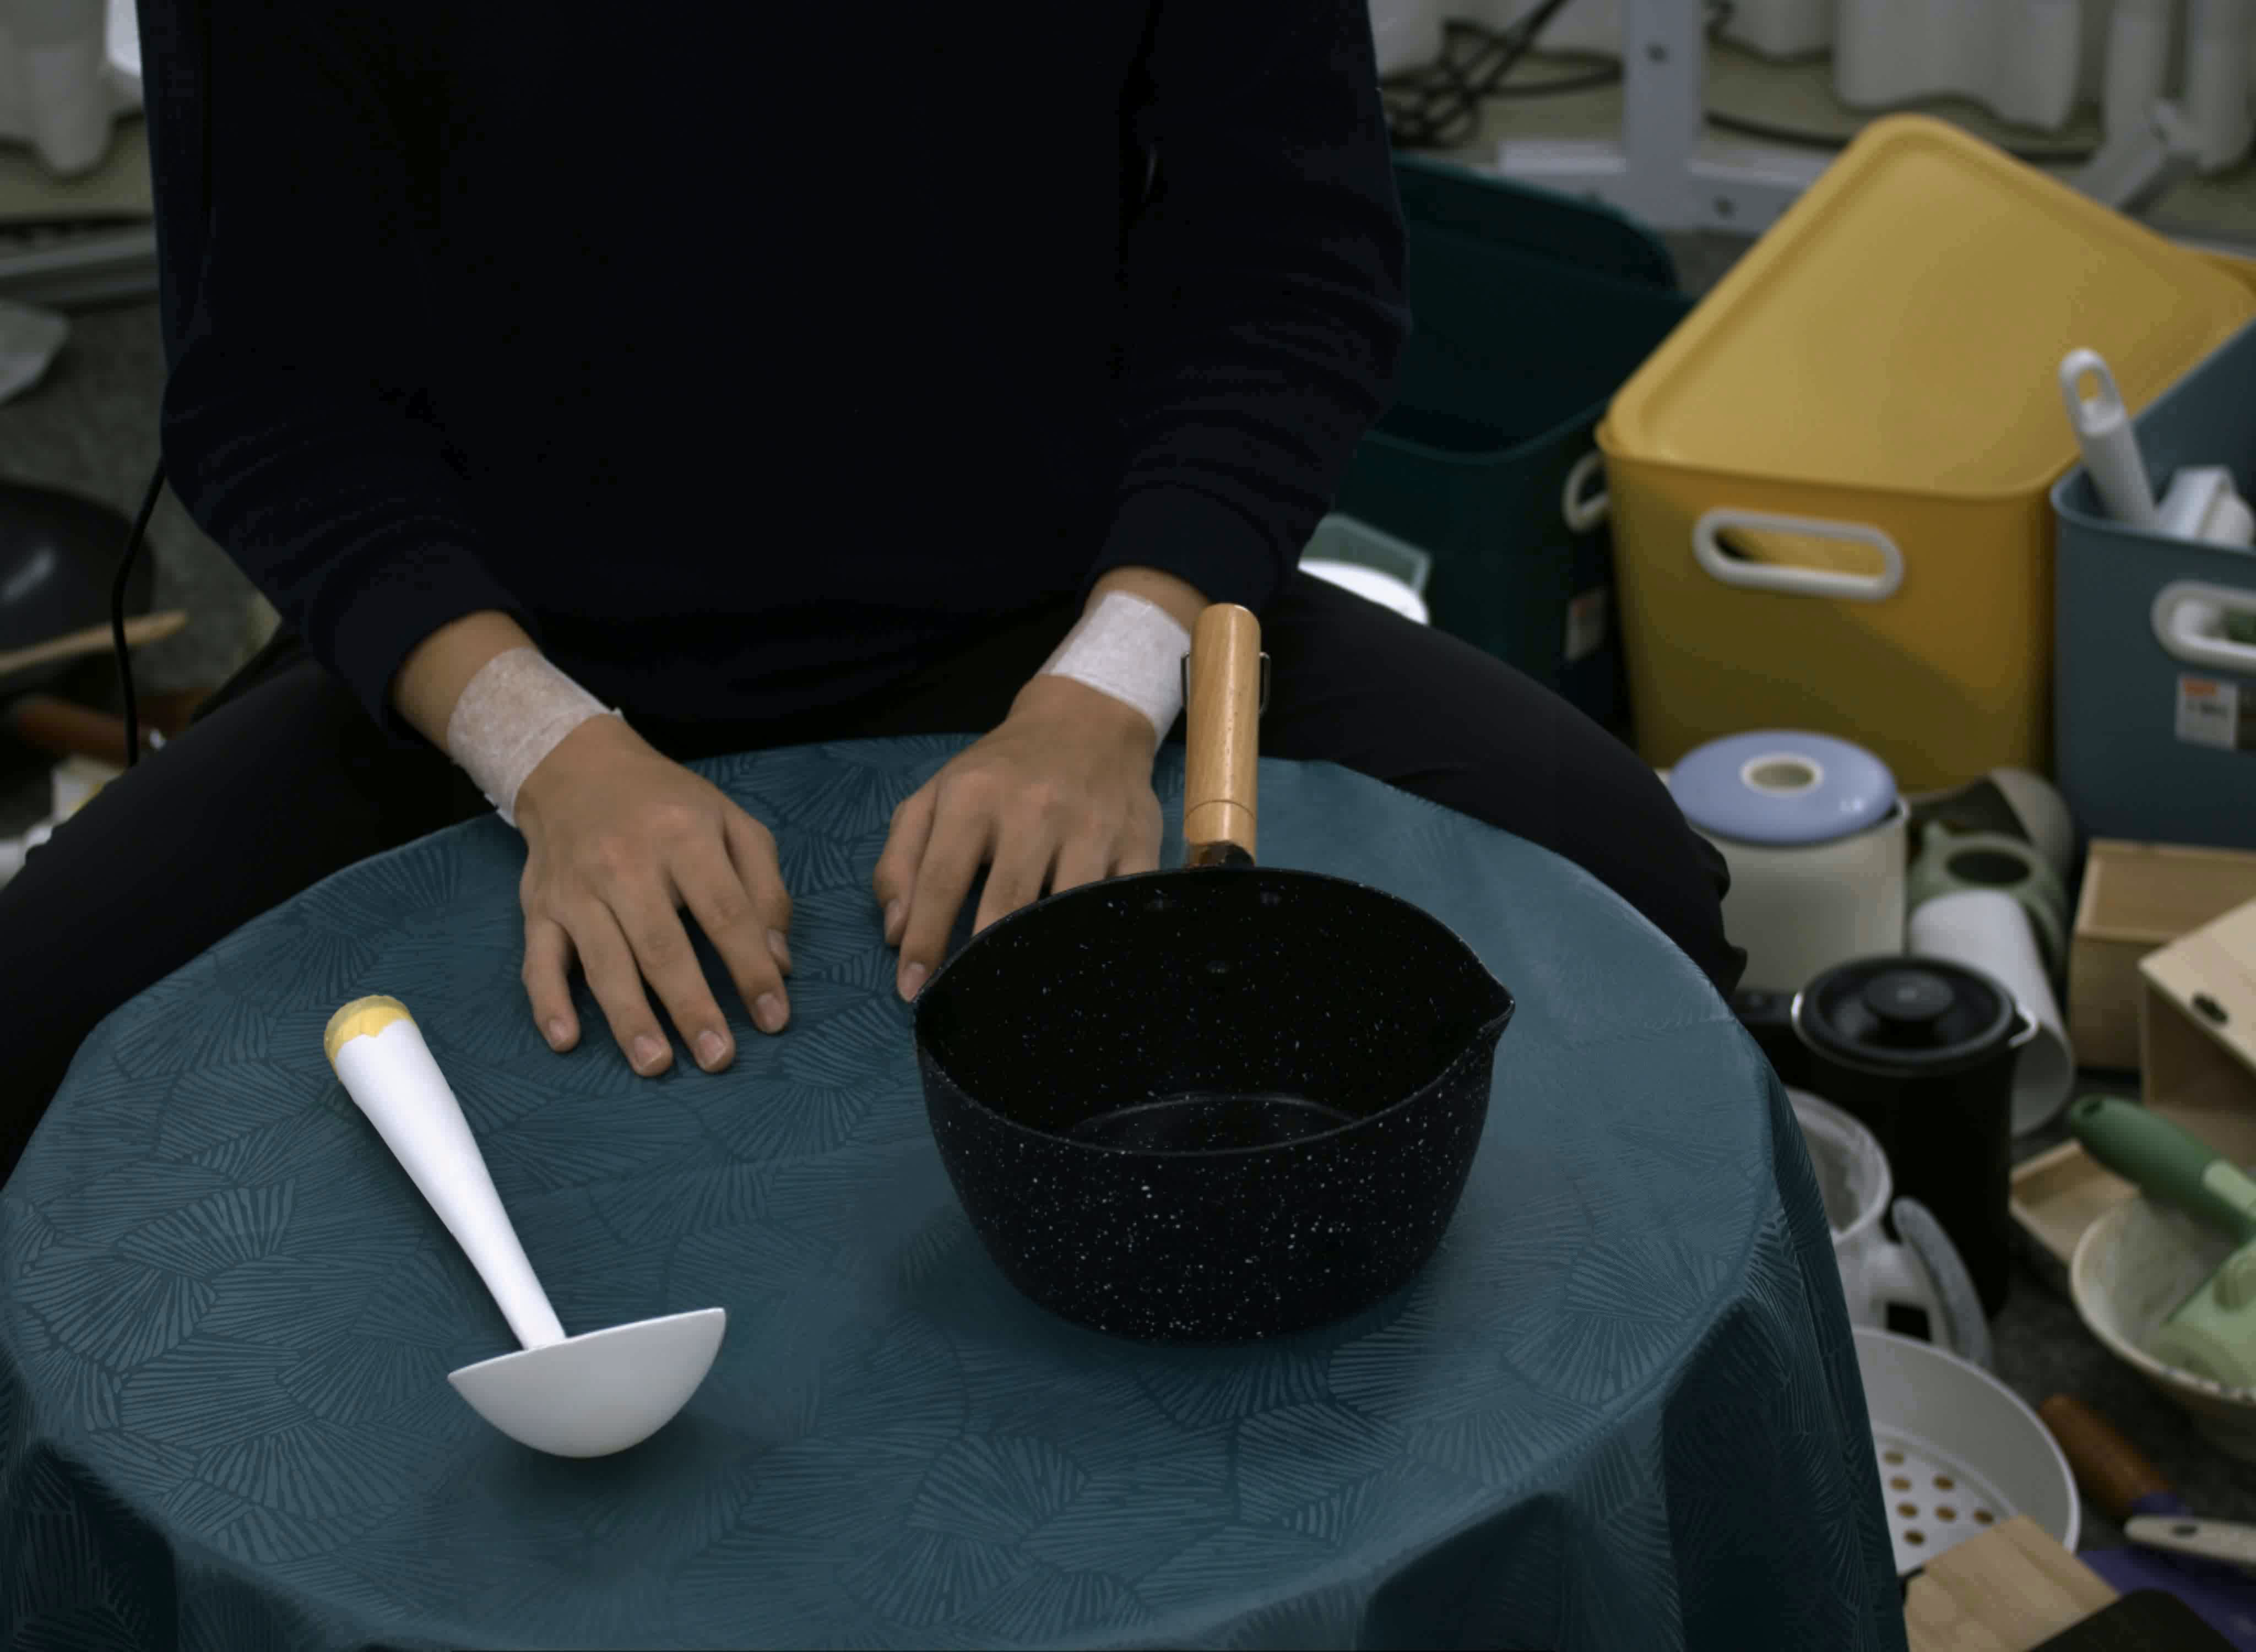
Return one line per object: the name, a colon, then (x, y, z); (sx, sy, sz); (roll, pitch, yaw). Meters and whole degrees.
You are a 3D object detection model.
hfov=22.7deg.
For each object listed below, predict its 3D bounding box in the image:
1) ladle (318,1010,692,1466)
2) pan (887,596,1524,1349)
ladle: (-0.215, 0.121, 1.815); (0.090, 0.069, 0.295); (-18, 30, -14)
pan: (0.028, 0.046, 1.890); (0.206, 0.107, 0.348); (-3, 29, 3)
